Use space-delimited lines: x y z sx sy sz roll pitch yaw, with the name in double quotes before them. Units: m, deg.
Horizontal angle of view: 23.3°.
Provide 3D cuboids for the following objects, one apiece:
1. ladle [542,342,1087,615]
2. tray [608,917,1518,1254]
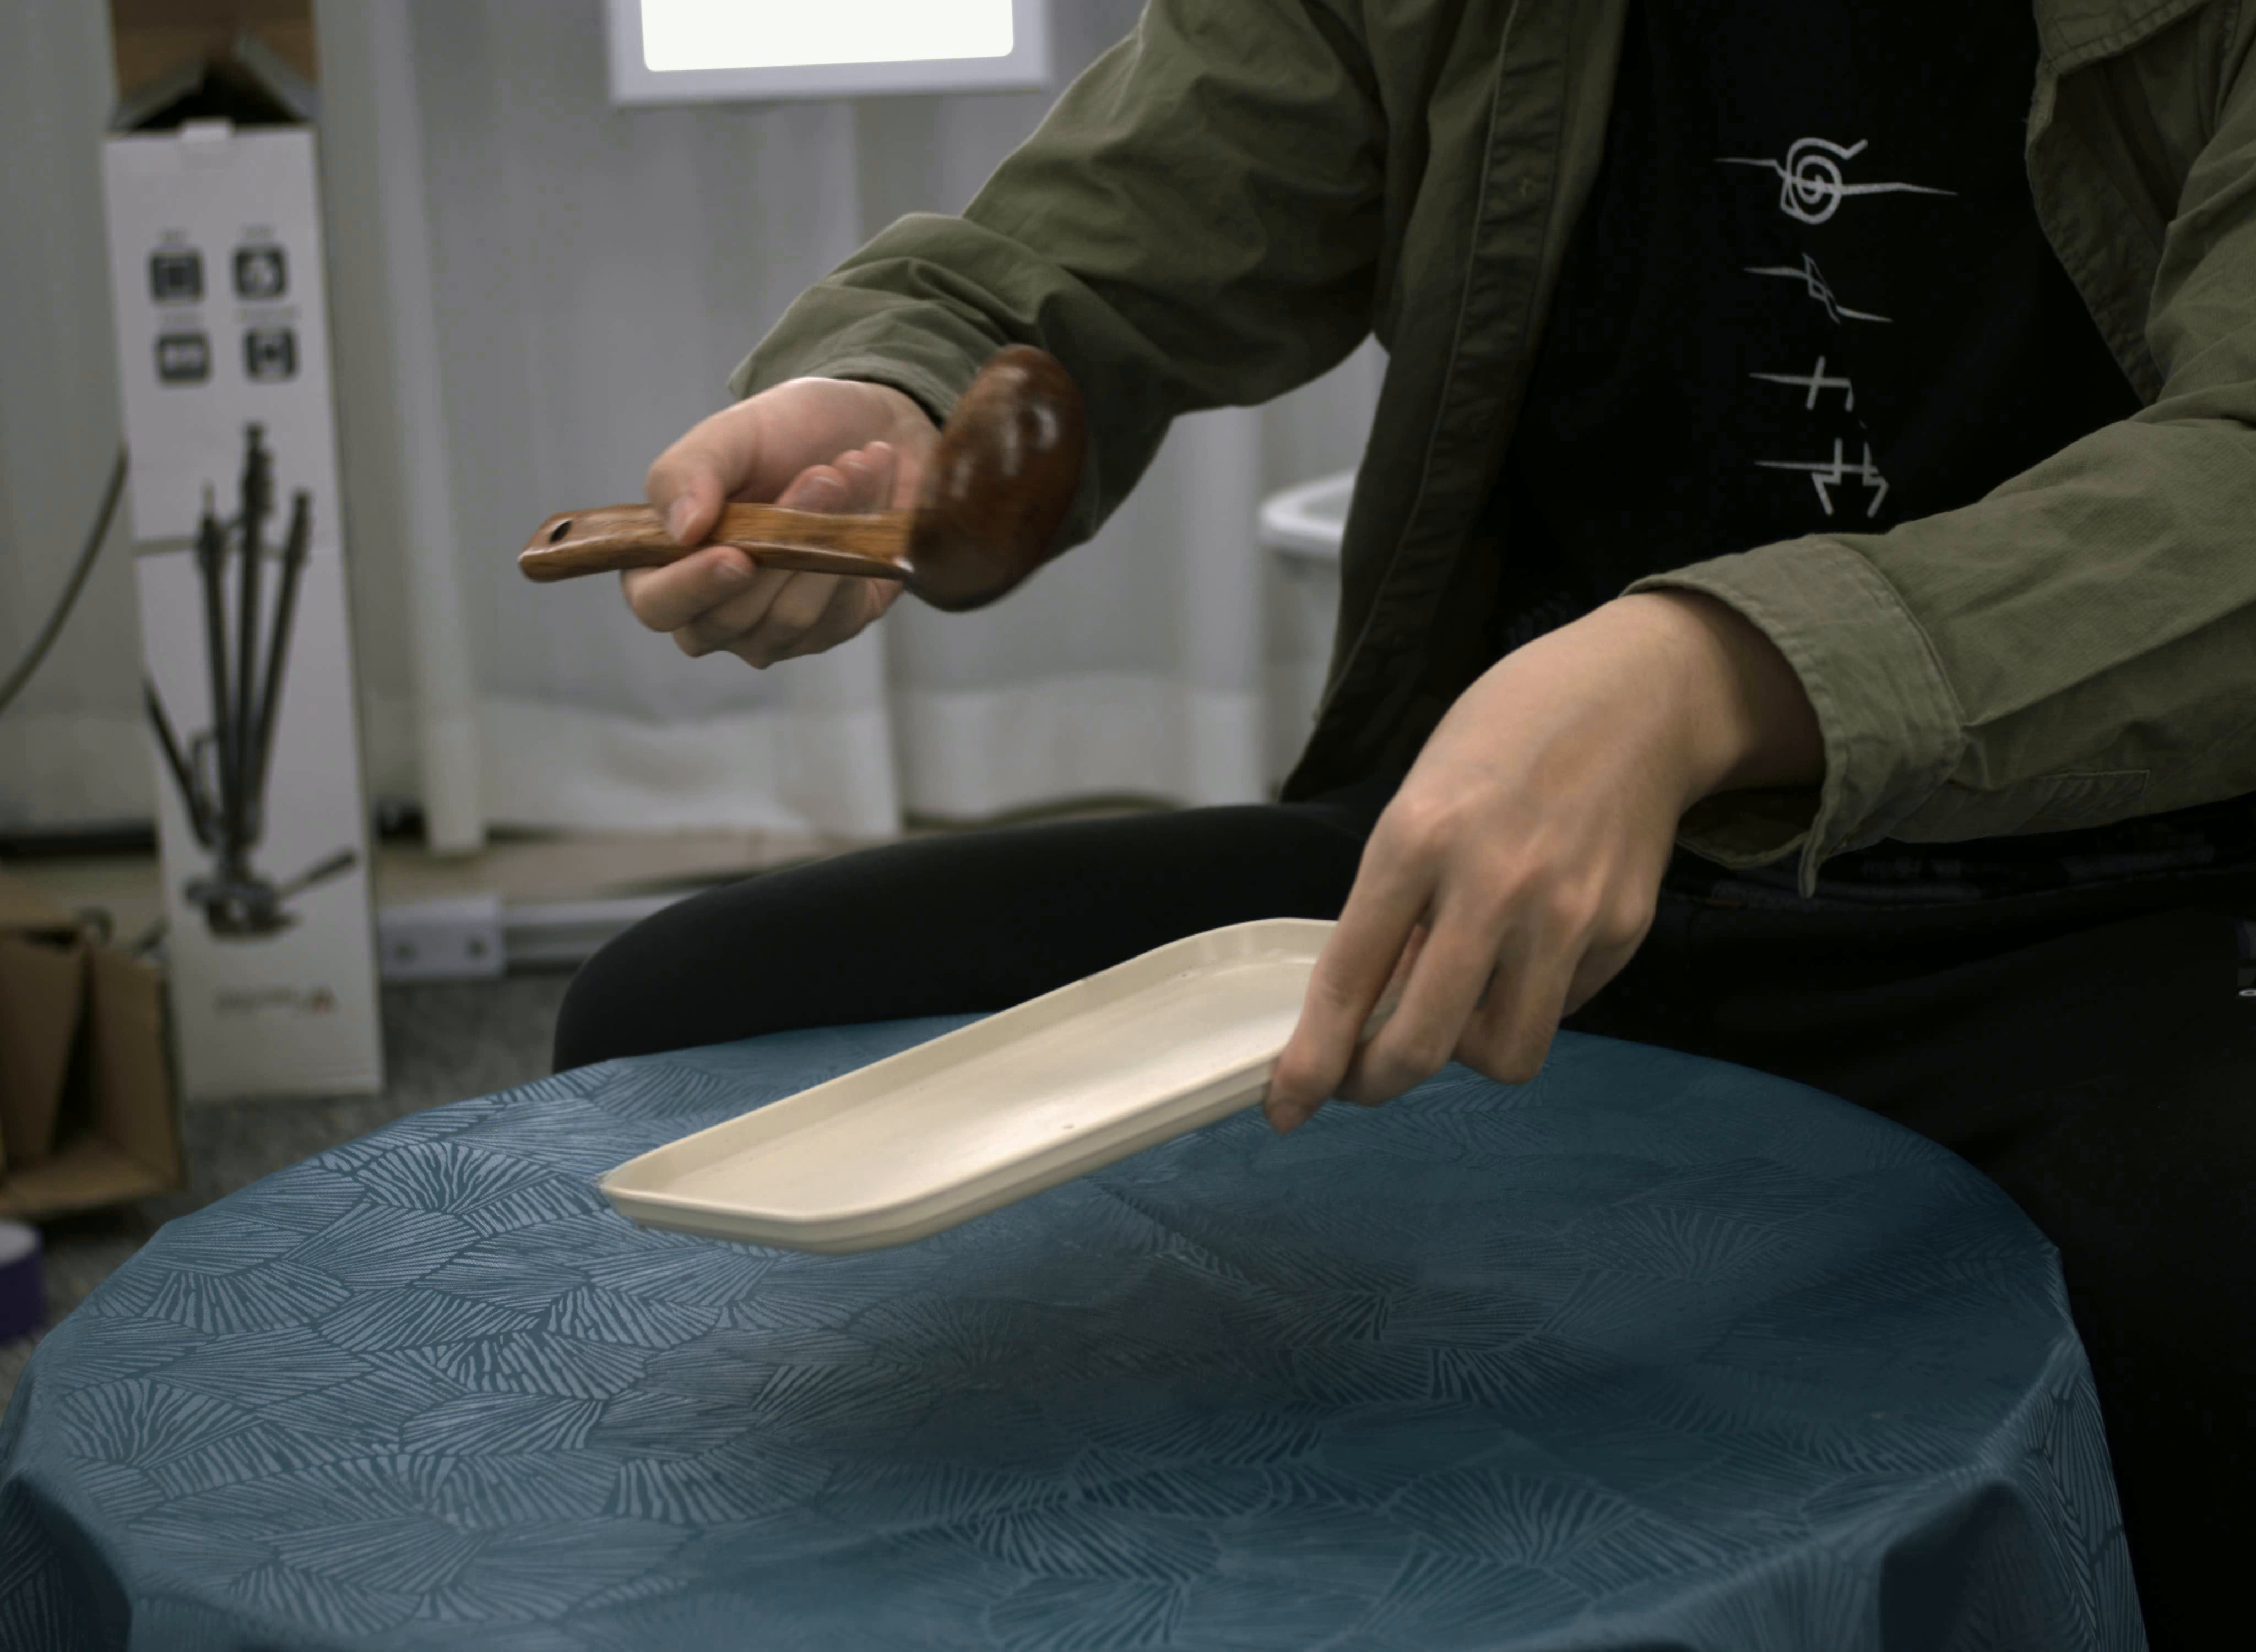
"ladle" -0.110 -0.103 1.643 0.275 0.076 0.082 6 50 48
"tray" -0.017 0.073 1.549 0.239 0.017 0.172 -21 11 -29
